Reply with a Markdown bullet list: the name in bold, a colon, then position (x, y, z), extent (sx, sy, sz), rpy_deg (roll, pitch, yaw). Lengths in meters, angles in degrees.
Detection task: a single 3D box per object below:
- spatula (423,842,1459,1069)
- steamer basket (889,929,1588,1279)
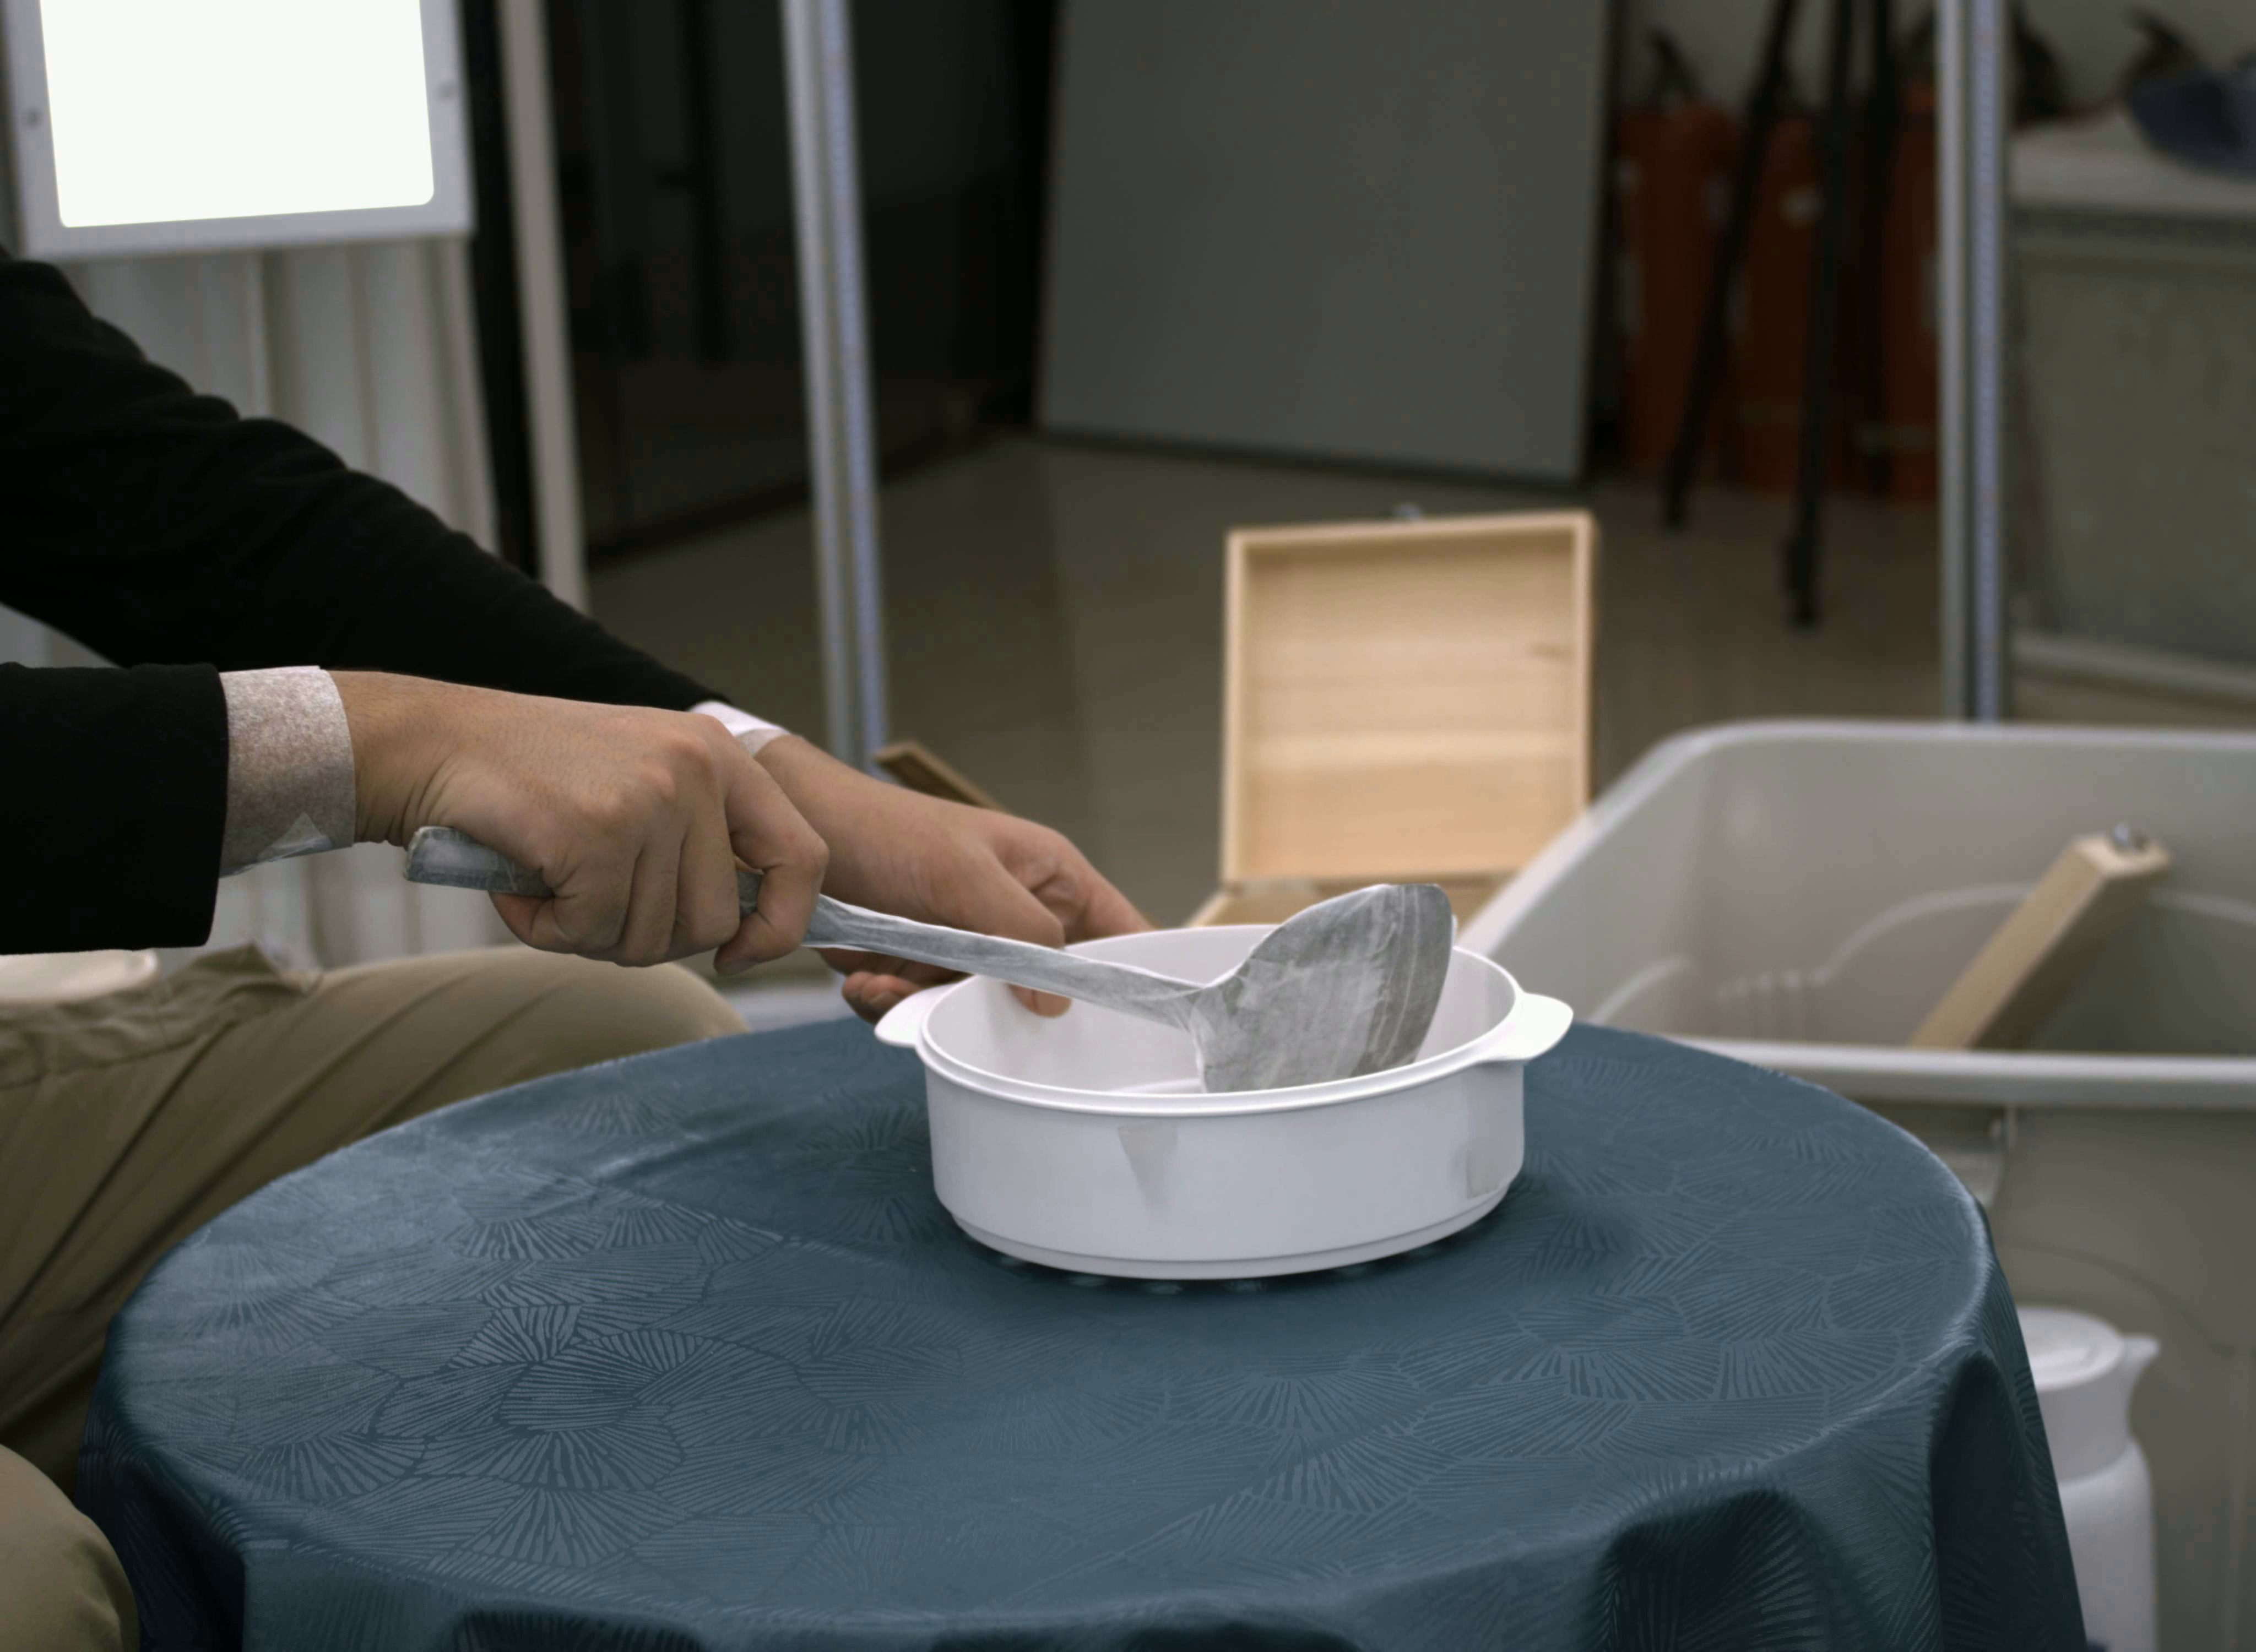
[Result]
- **spatula**: position (-0.052, 0.039, 1.688), extent (0.357, 0.100, 0.045), rpy_deg (12, 19, -23)
- **steamer basket**: position (0.037, 0.089, 1.742), extent (0.230, 0.070, 0.200), rpy_deg (-1, 13, 18)
